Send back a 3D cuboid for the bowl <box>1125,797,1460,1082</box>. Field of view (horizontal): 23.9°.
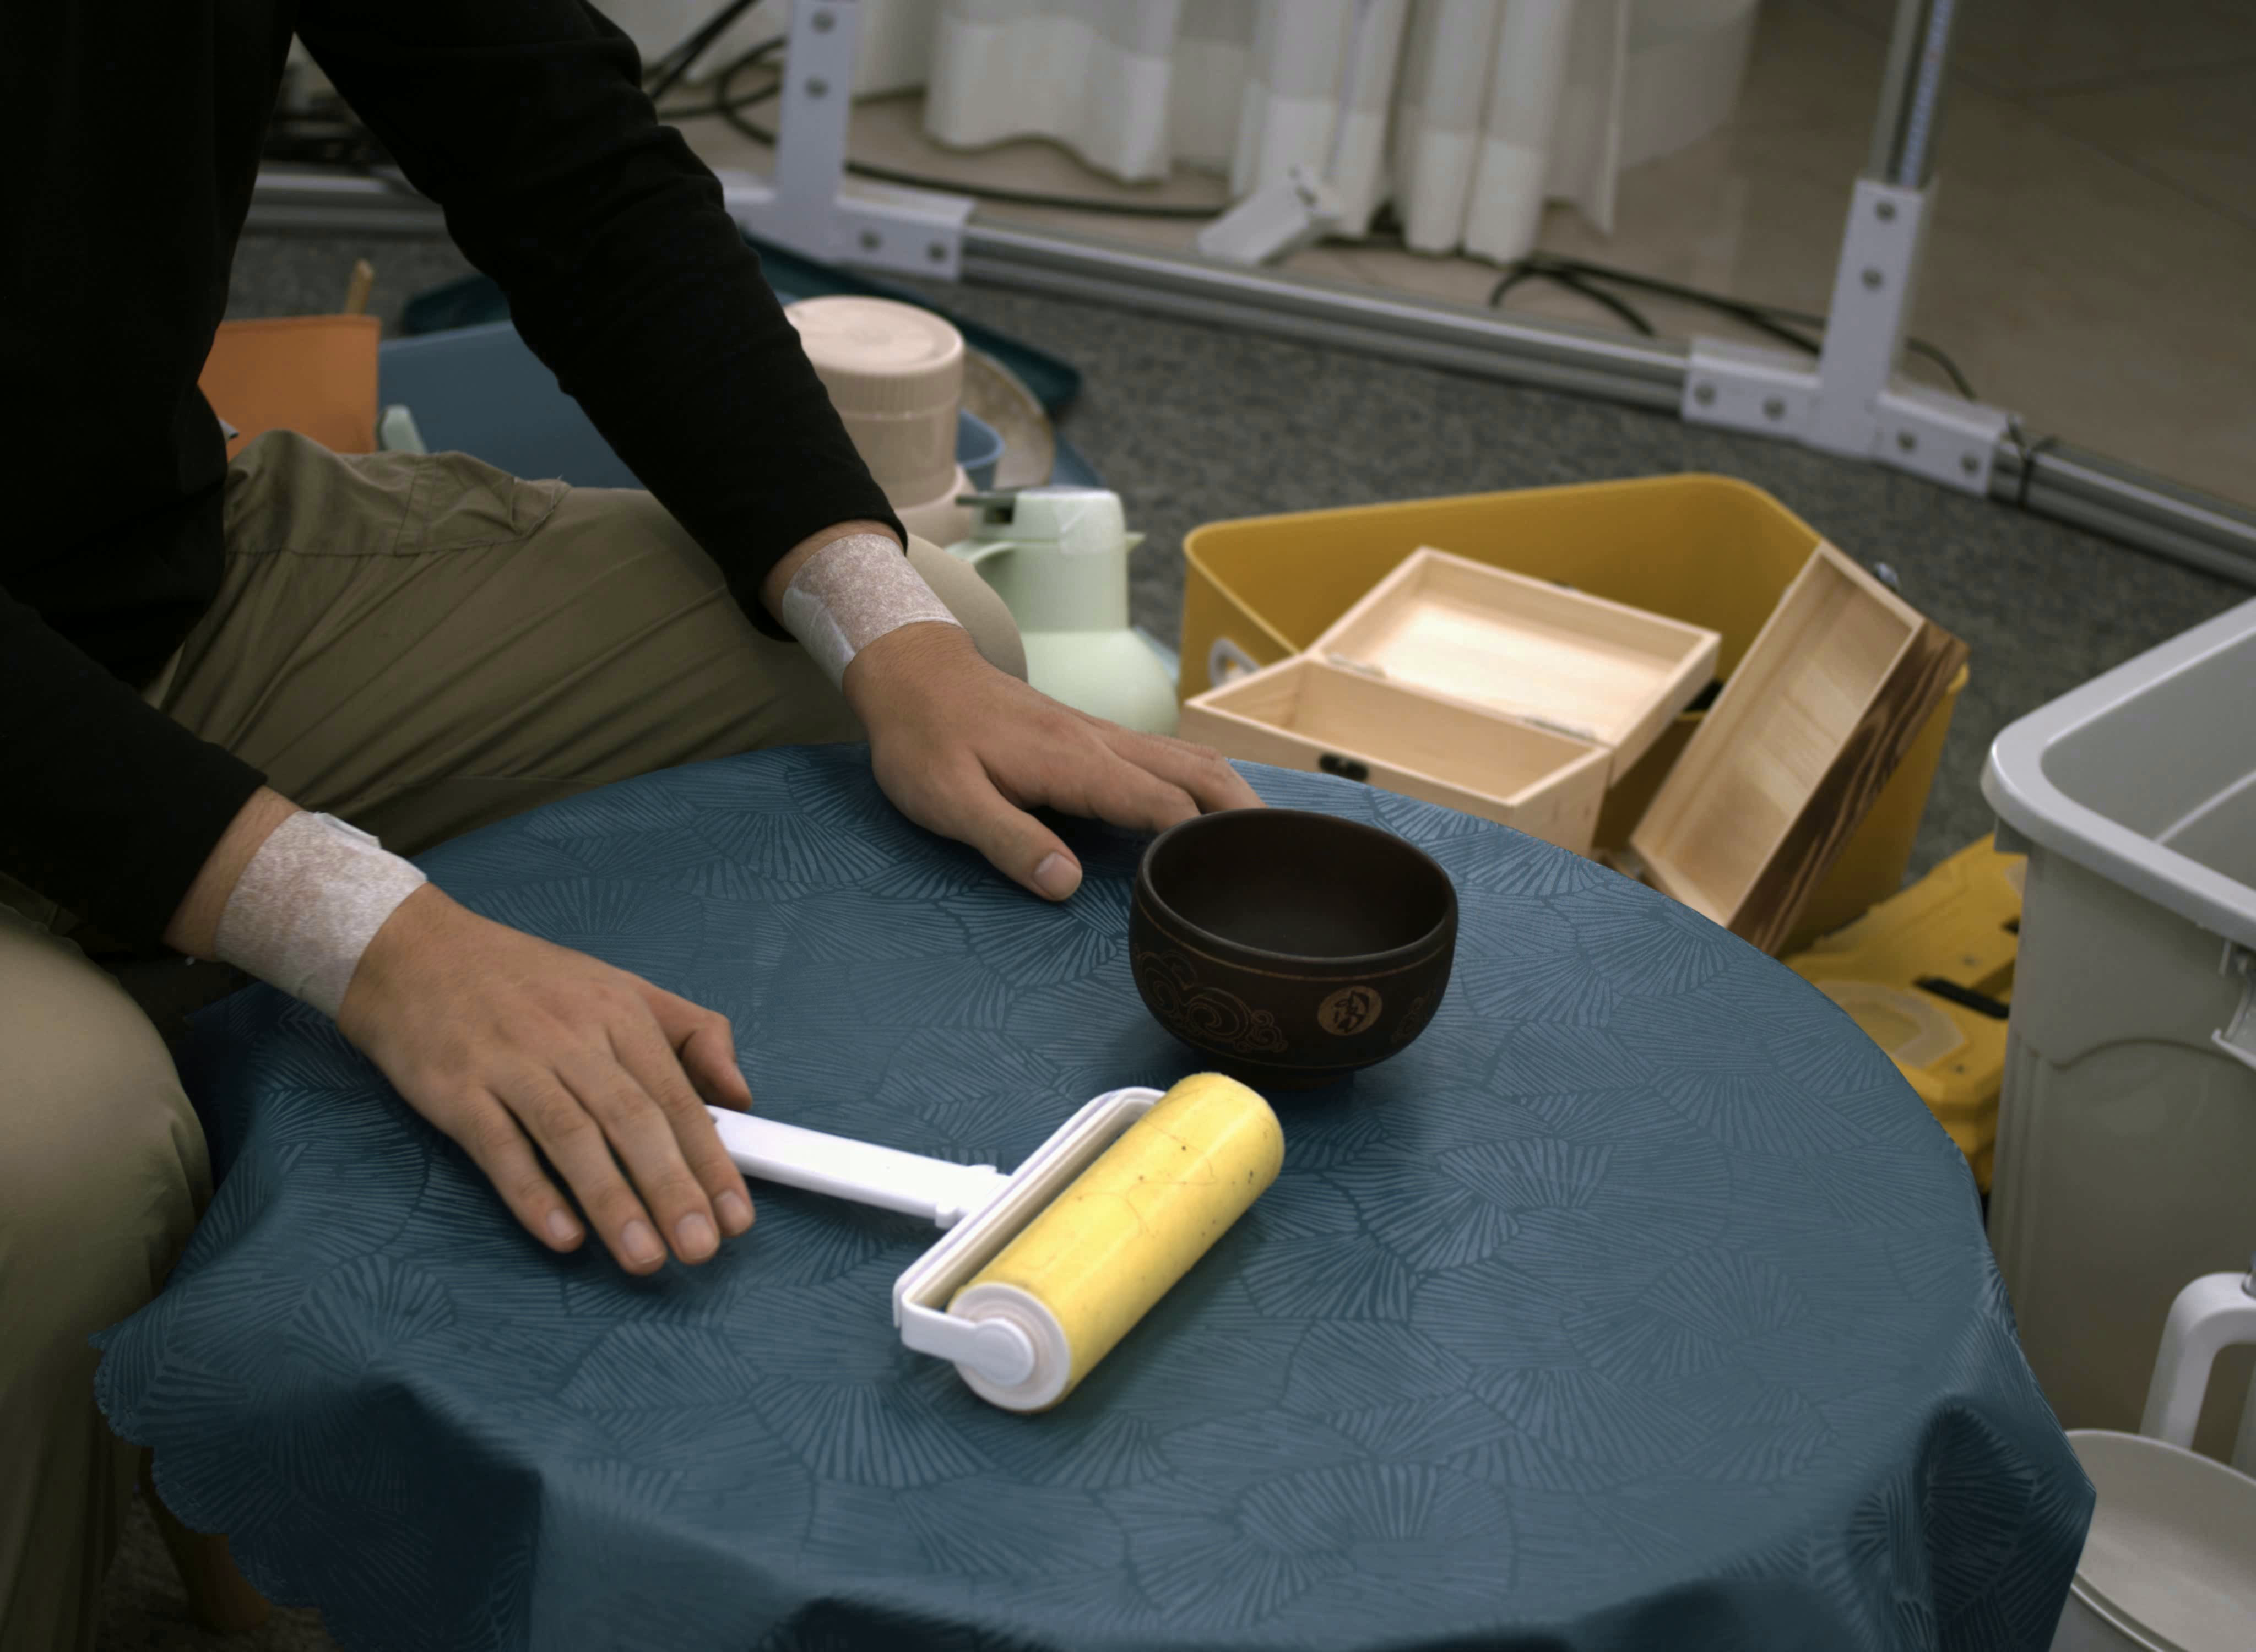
[{"bbox_3d":[0.056,0.047,1.882,0.117,0.069,0.119,6,27,-4],"label":"bowl"}]

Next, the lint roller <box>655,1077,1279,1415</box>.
[{"bbox_3d":[-0.068,0.112,1.751,0.192,0.051,0.174,21,30,17],"label":"lint roller"}]
